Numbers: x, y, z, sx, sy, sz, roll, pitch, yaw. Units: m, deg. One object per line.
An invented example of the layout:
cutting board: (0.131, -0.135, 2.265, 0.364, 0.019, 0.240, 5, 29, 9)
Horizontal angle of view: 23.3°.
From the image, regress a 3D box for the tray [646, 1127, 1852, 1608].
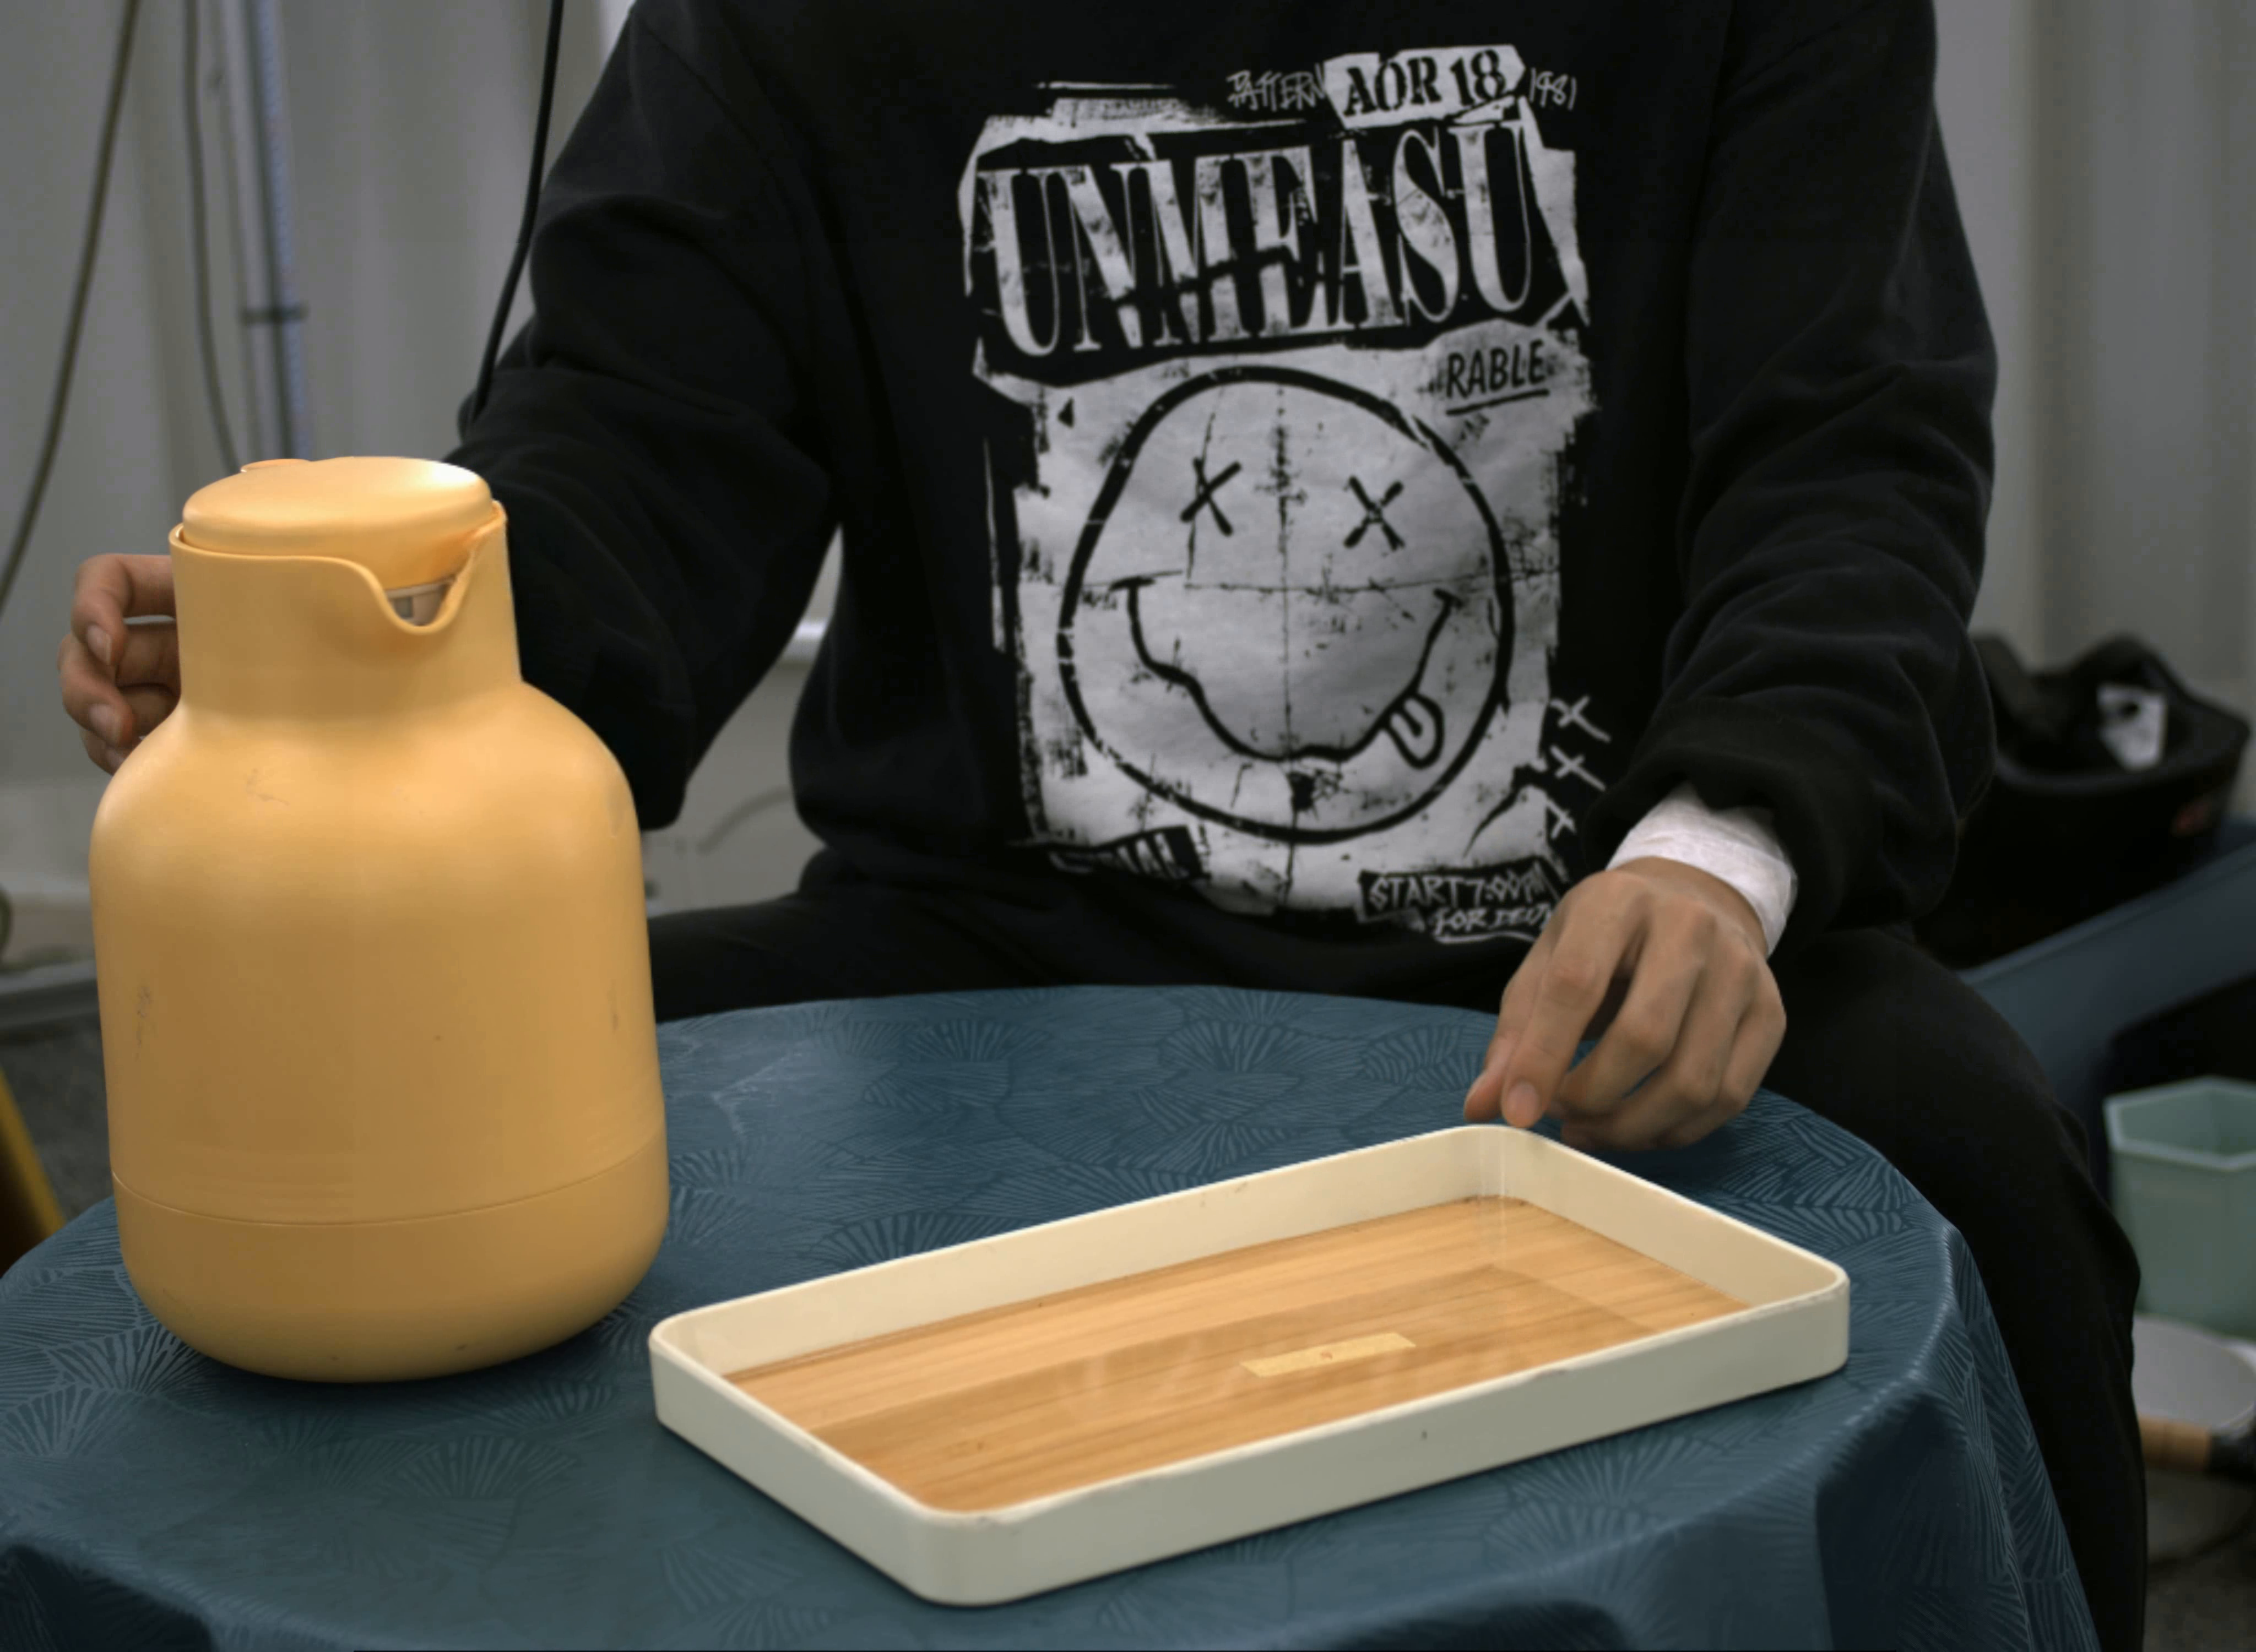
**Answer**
tray: (0.034, 0.147, 1.536, 0.299, 0.027, 0.193, -11, 17, -28)

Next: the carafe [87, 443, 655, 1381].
carafe: (-0.229, 0.017, 1.621, 0.162, 0.259, 0.204, -6, 16, -22)
